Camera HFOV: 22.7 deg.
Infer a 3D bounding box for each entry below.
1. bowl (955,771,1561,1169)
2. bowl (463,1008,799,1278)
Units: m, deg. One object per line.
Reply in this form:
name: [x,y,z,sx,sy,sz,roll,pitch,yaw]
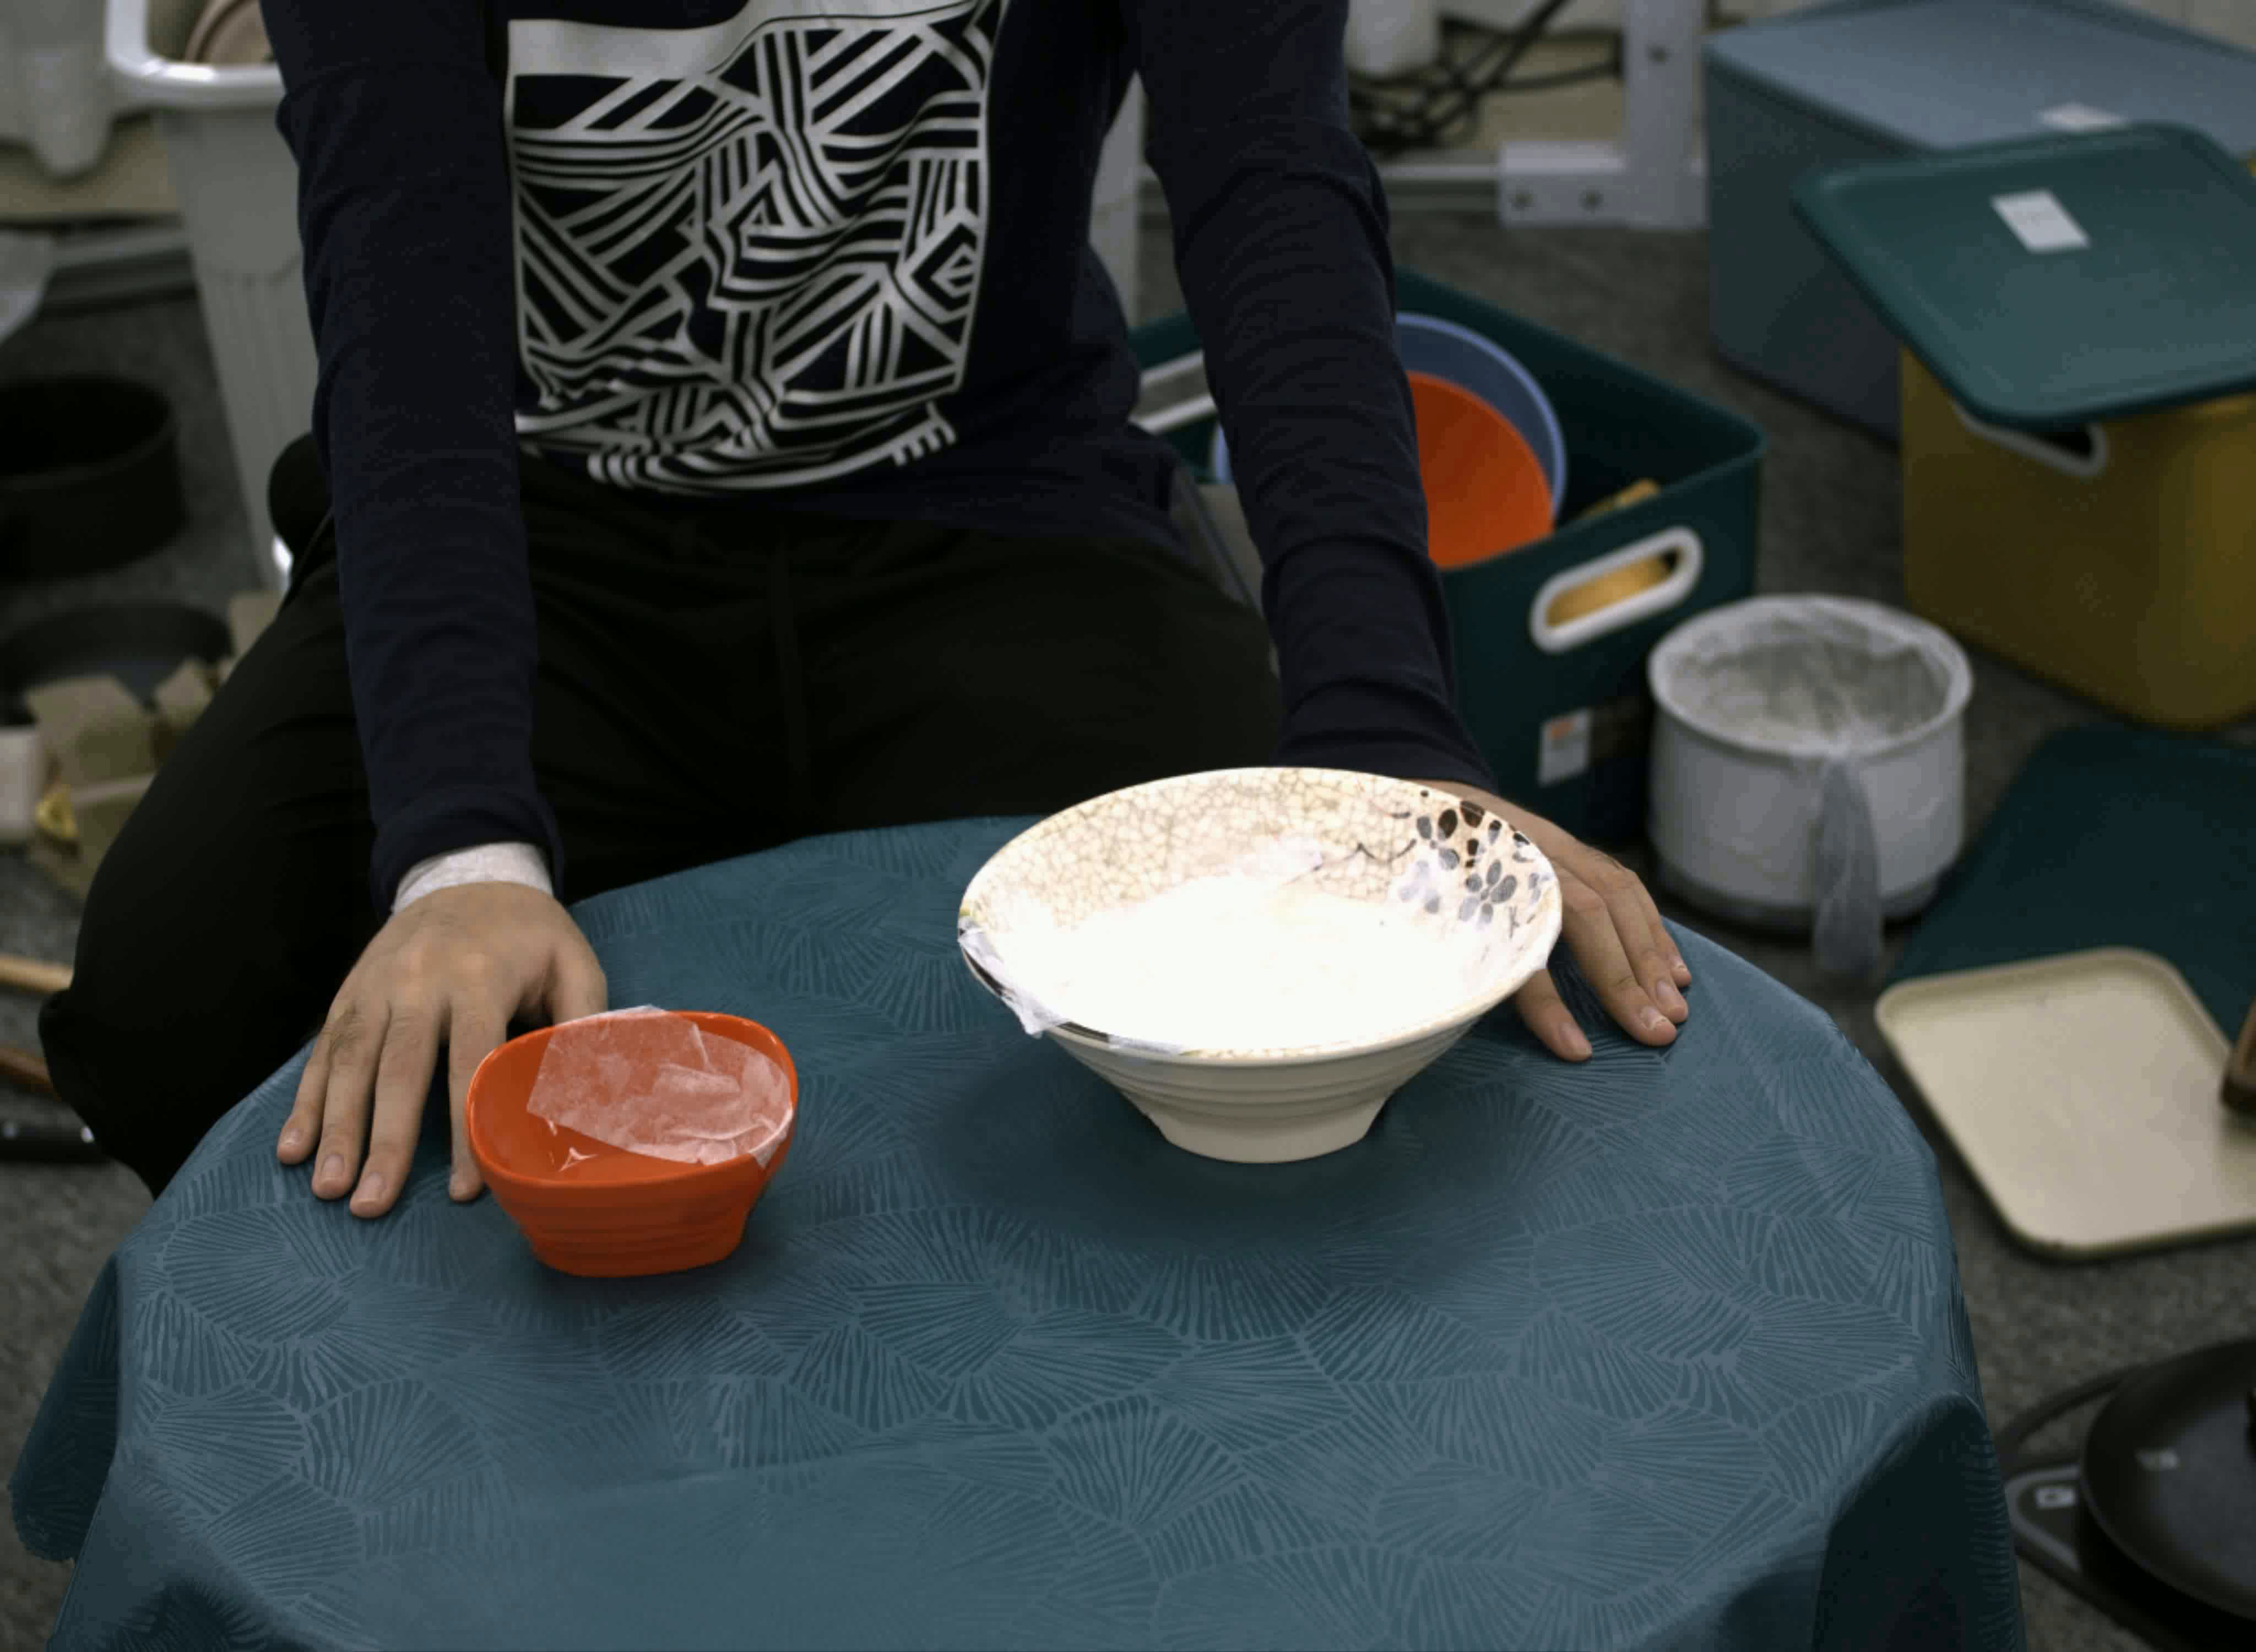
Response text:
bowl: [0.044,0.060,1.895,0.203,0.077,0.207,-2,26,1]
bowl: [-0.161,0.109,1.846,0.118,0.051,0.121,-3,27,2]
